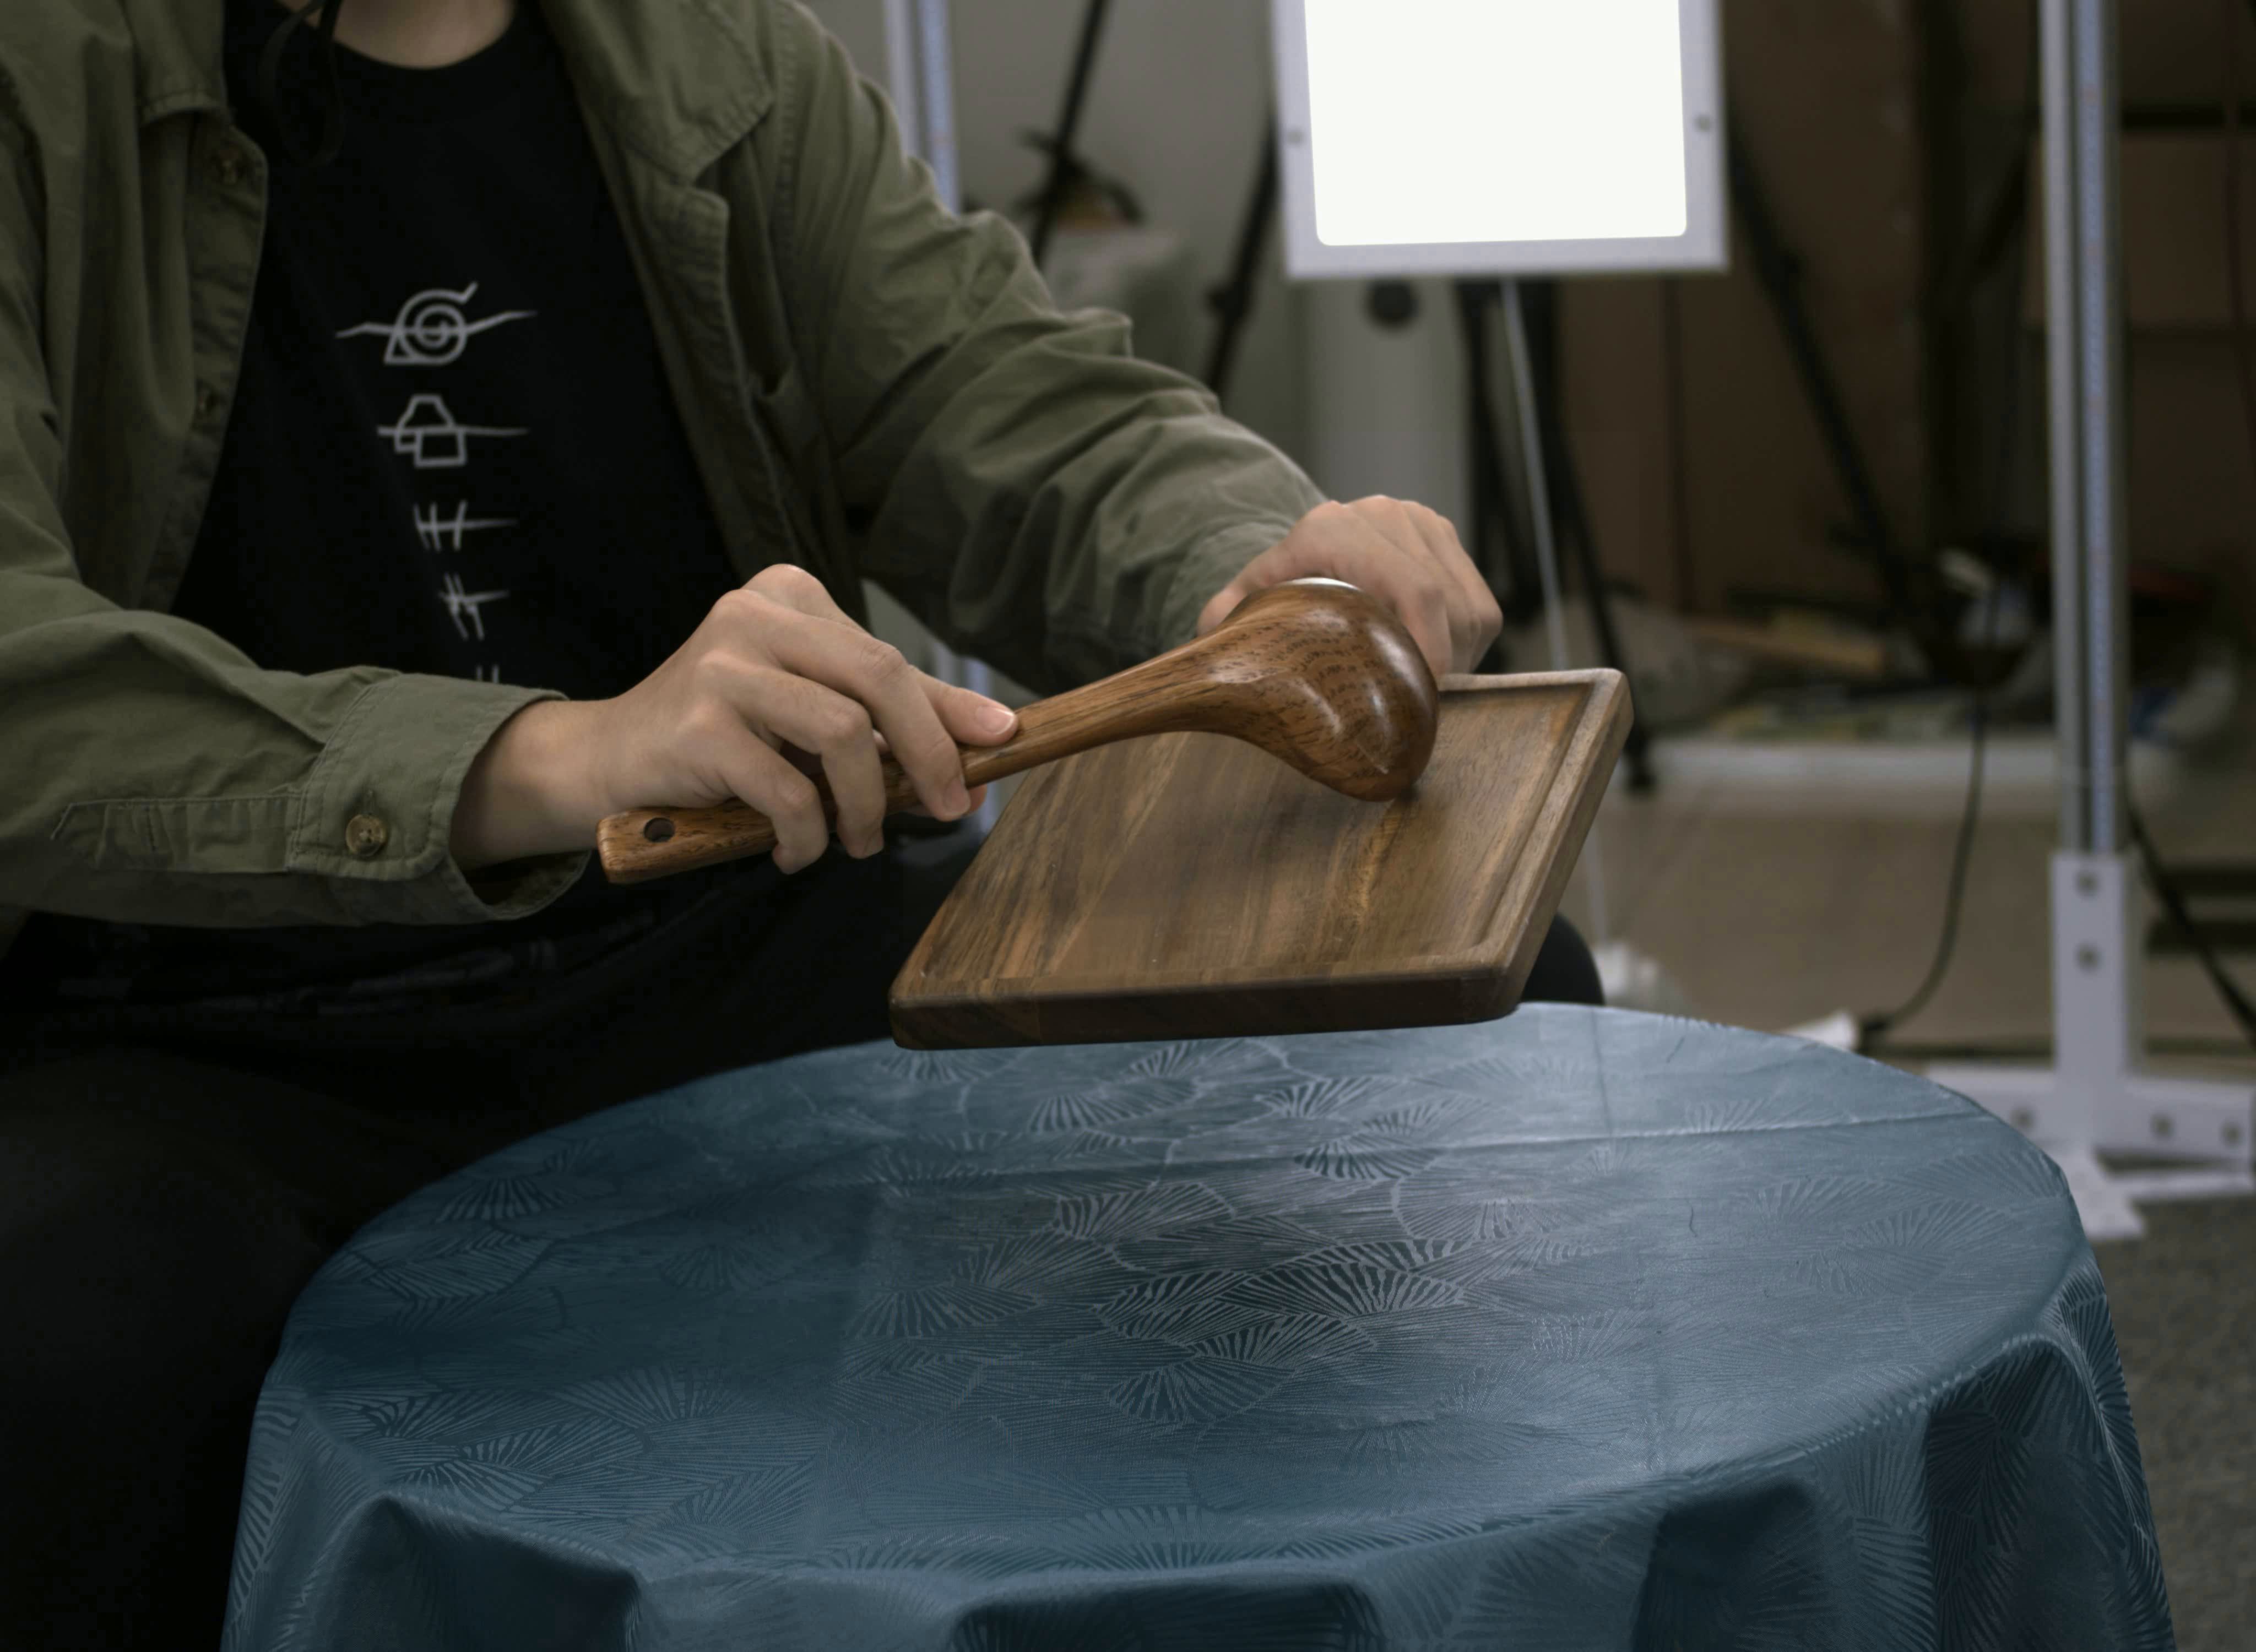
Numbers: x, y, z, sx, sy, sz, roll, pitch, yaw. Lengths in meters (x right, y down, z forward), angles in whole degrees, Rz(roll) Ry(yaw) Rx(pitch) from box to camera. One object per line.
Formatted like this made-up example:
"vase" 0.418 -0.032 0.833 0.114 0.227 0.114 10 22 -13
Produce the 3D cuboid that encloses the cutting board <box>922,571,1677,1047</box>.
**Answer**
"cutting board" 0.072 -0.013 1.796 0.203 0.023 0.347 -3 22 19

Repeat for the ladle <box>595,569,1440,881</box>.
"ladle" -0.033 -0.018 1.779 0.274 0.076 0.082 -17 56 4
